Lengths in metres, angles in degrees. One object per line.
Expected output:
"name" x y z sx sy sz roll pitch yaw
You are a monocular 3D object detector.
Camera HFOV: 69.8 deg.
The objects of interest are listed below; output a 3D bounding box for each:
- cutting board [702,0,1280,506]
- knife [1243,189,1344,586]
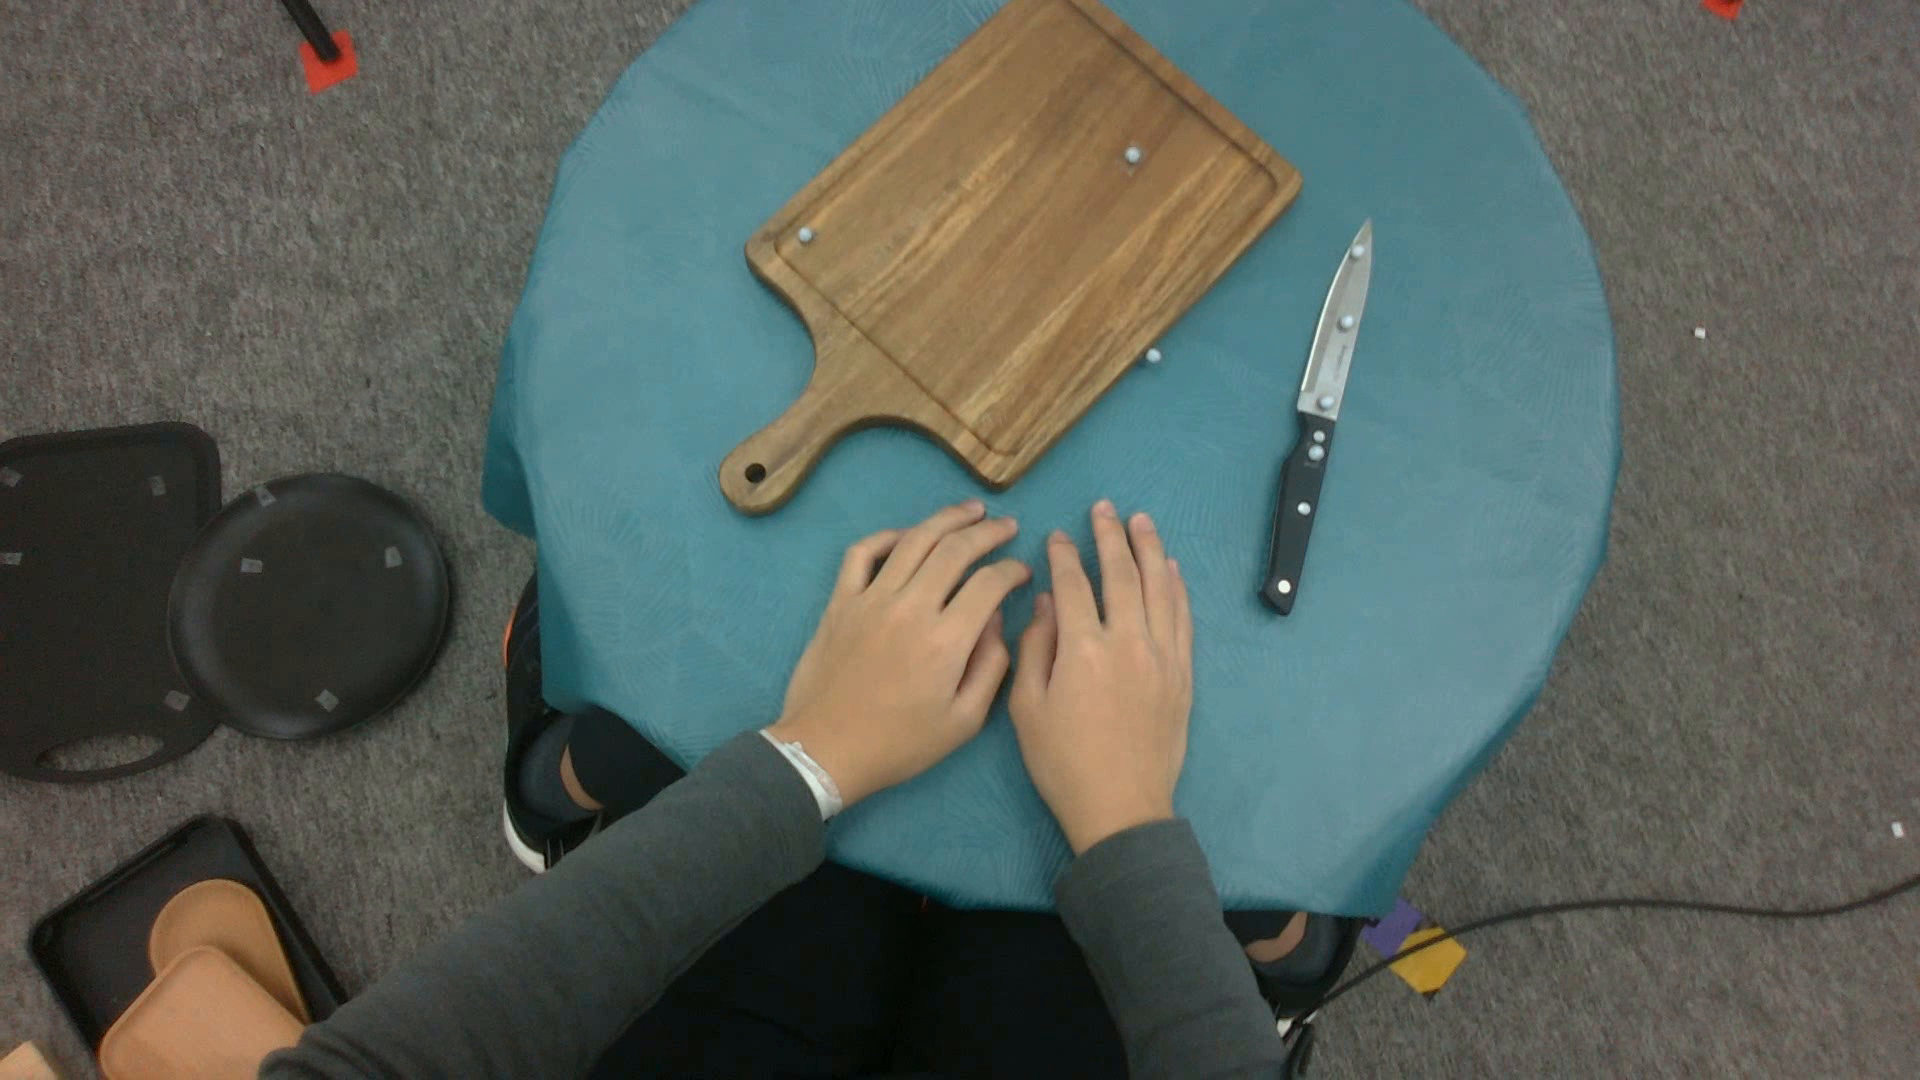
"cutting board" -0.009 -0.151 0.741 0.201 0.023 0.353 42 78 7
"knife" 0.185 -0.086 0.741 0.024 0.016 0.239 16 74 -2
